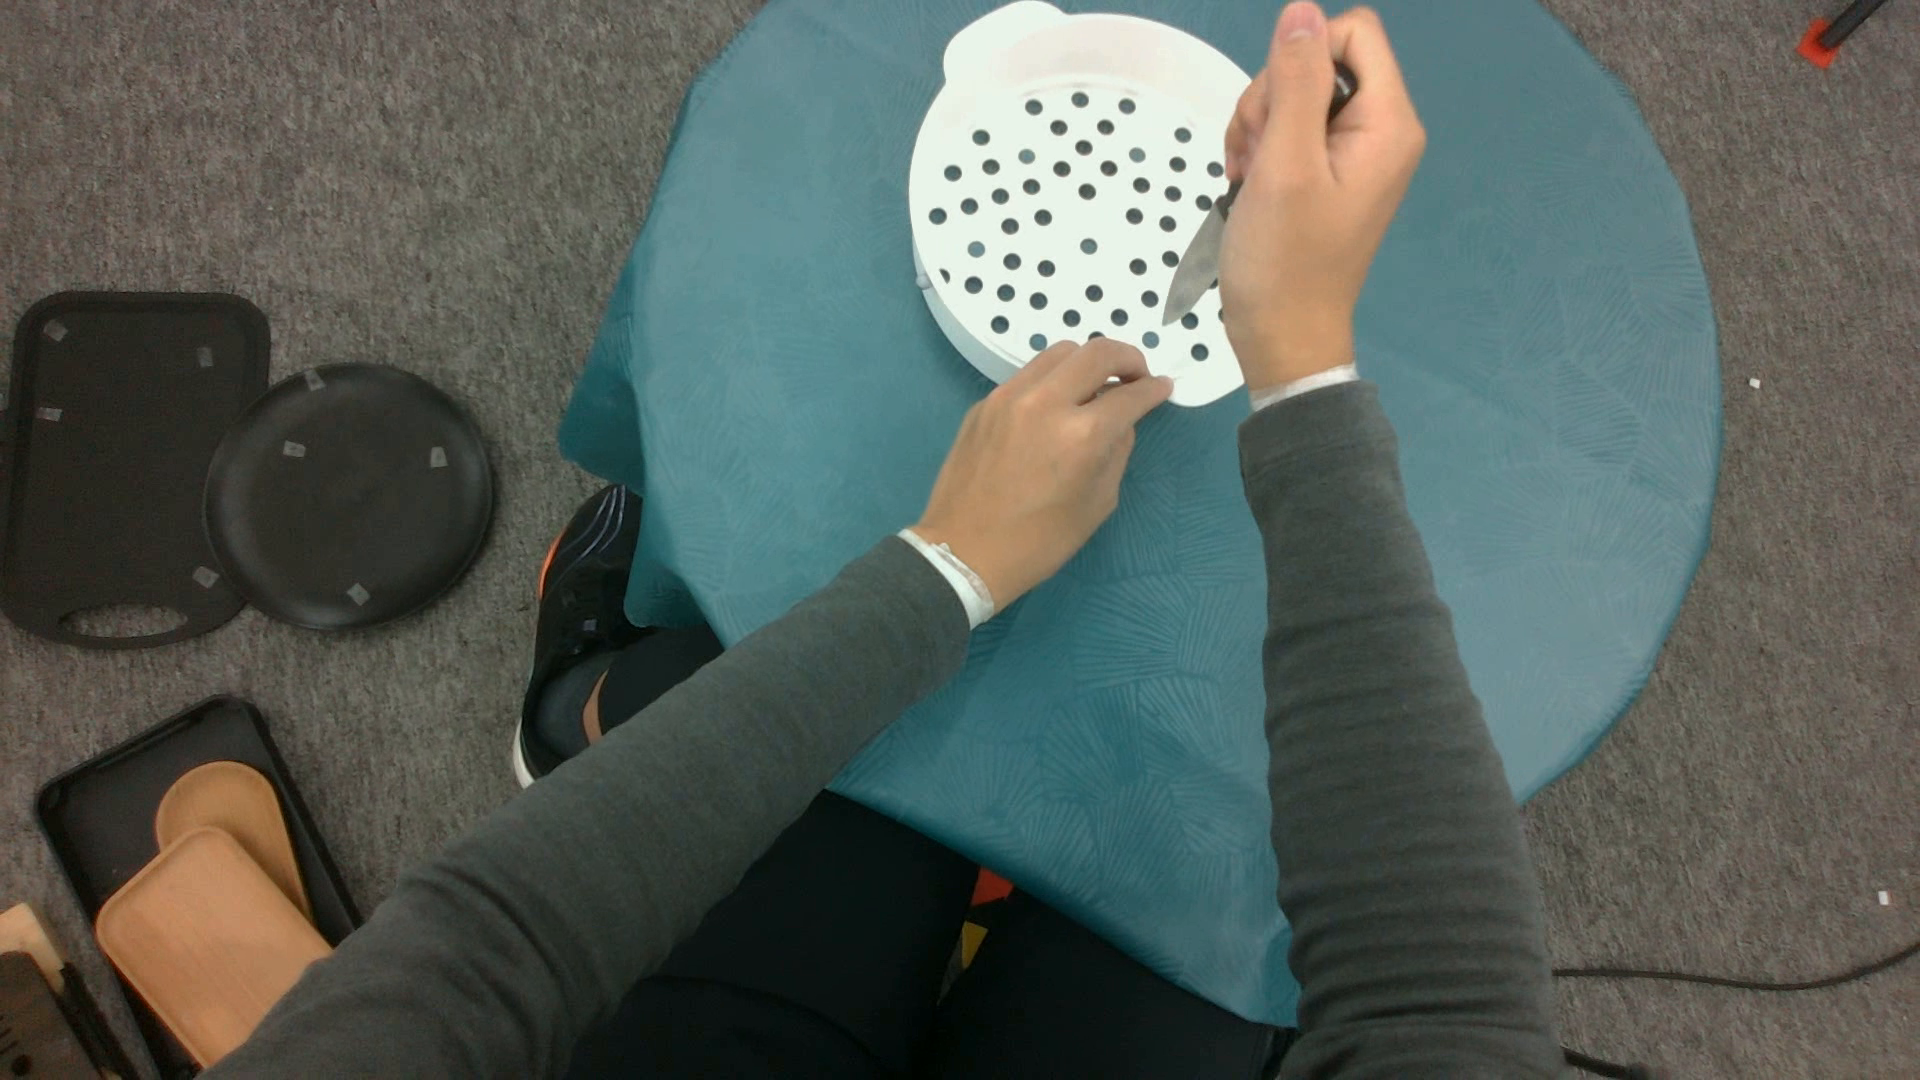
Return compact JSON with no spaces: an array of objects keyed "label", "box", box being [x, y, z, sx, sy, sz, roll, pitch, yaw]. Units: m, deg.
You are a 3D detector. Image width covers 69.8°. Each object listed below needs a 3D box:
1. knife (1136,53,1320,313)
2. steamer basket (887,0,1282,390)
[{"label":"knife","box":[0.108,-0.141,0.603,0.016,0.237,0.024,-21,82,-11]},{"label":"steamer basket","box":[0.061,-0.177,0.718,0.202,0.069,0.230,-31,84,-10]}]
